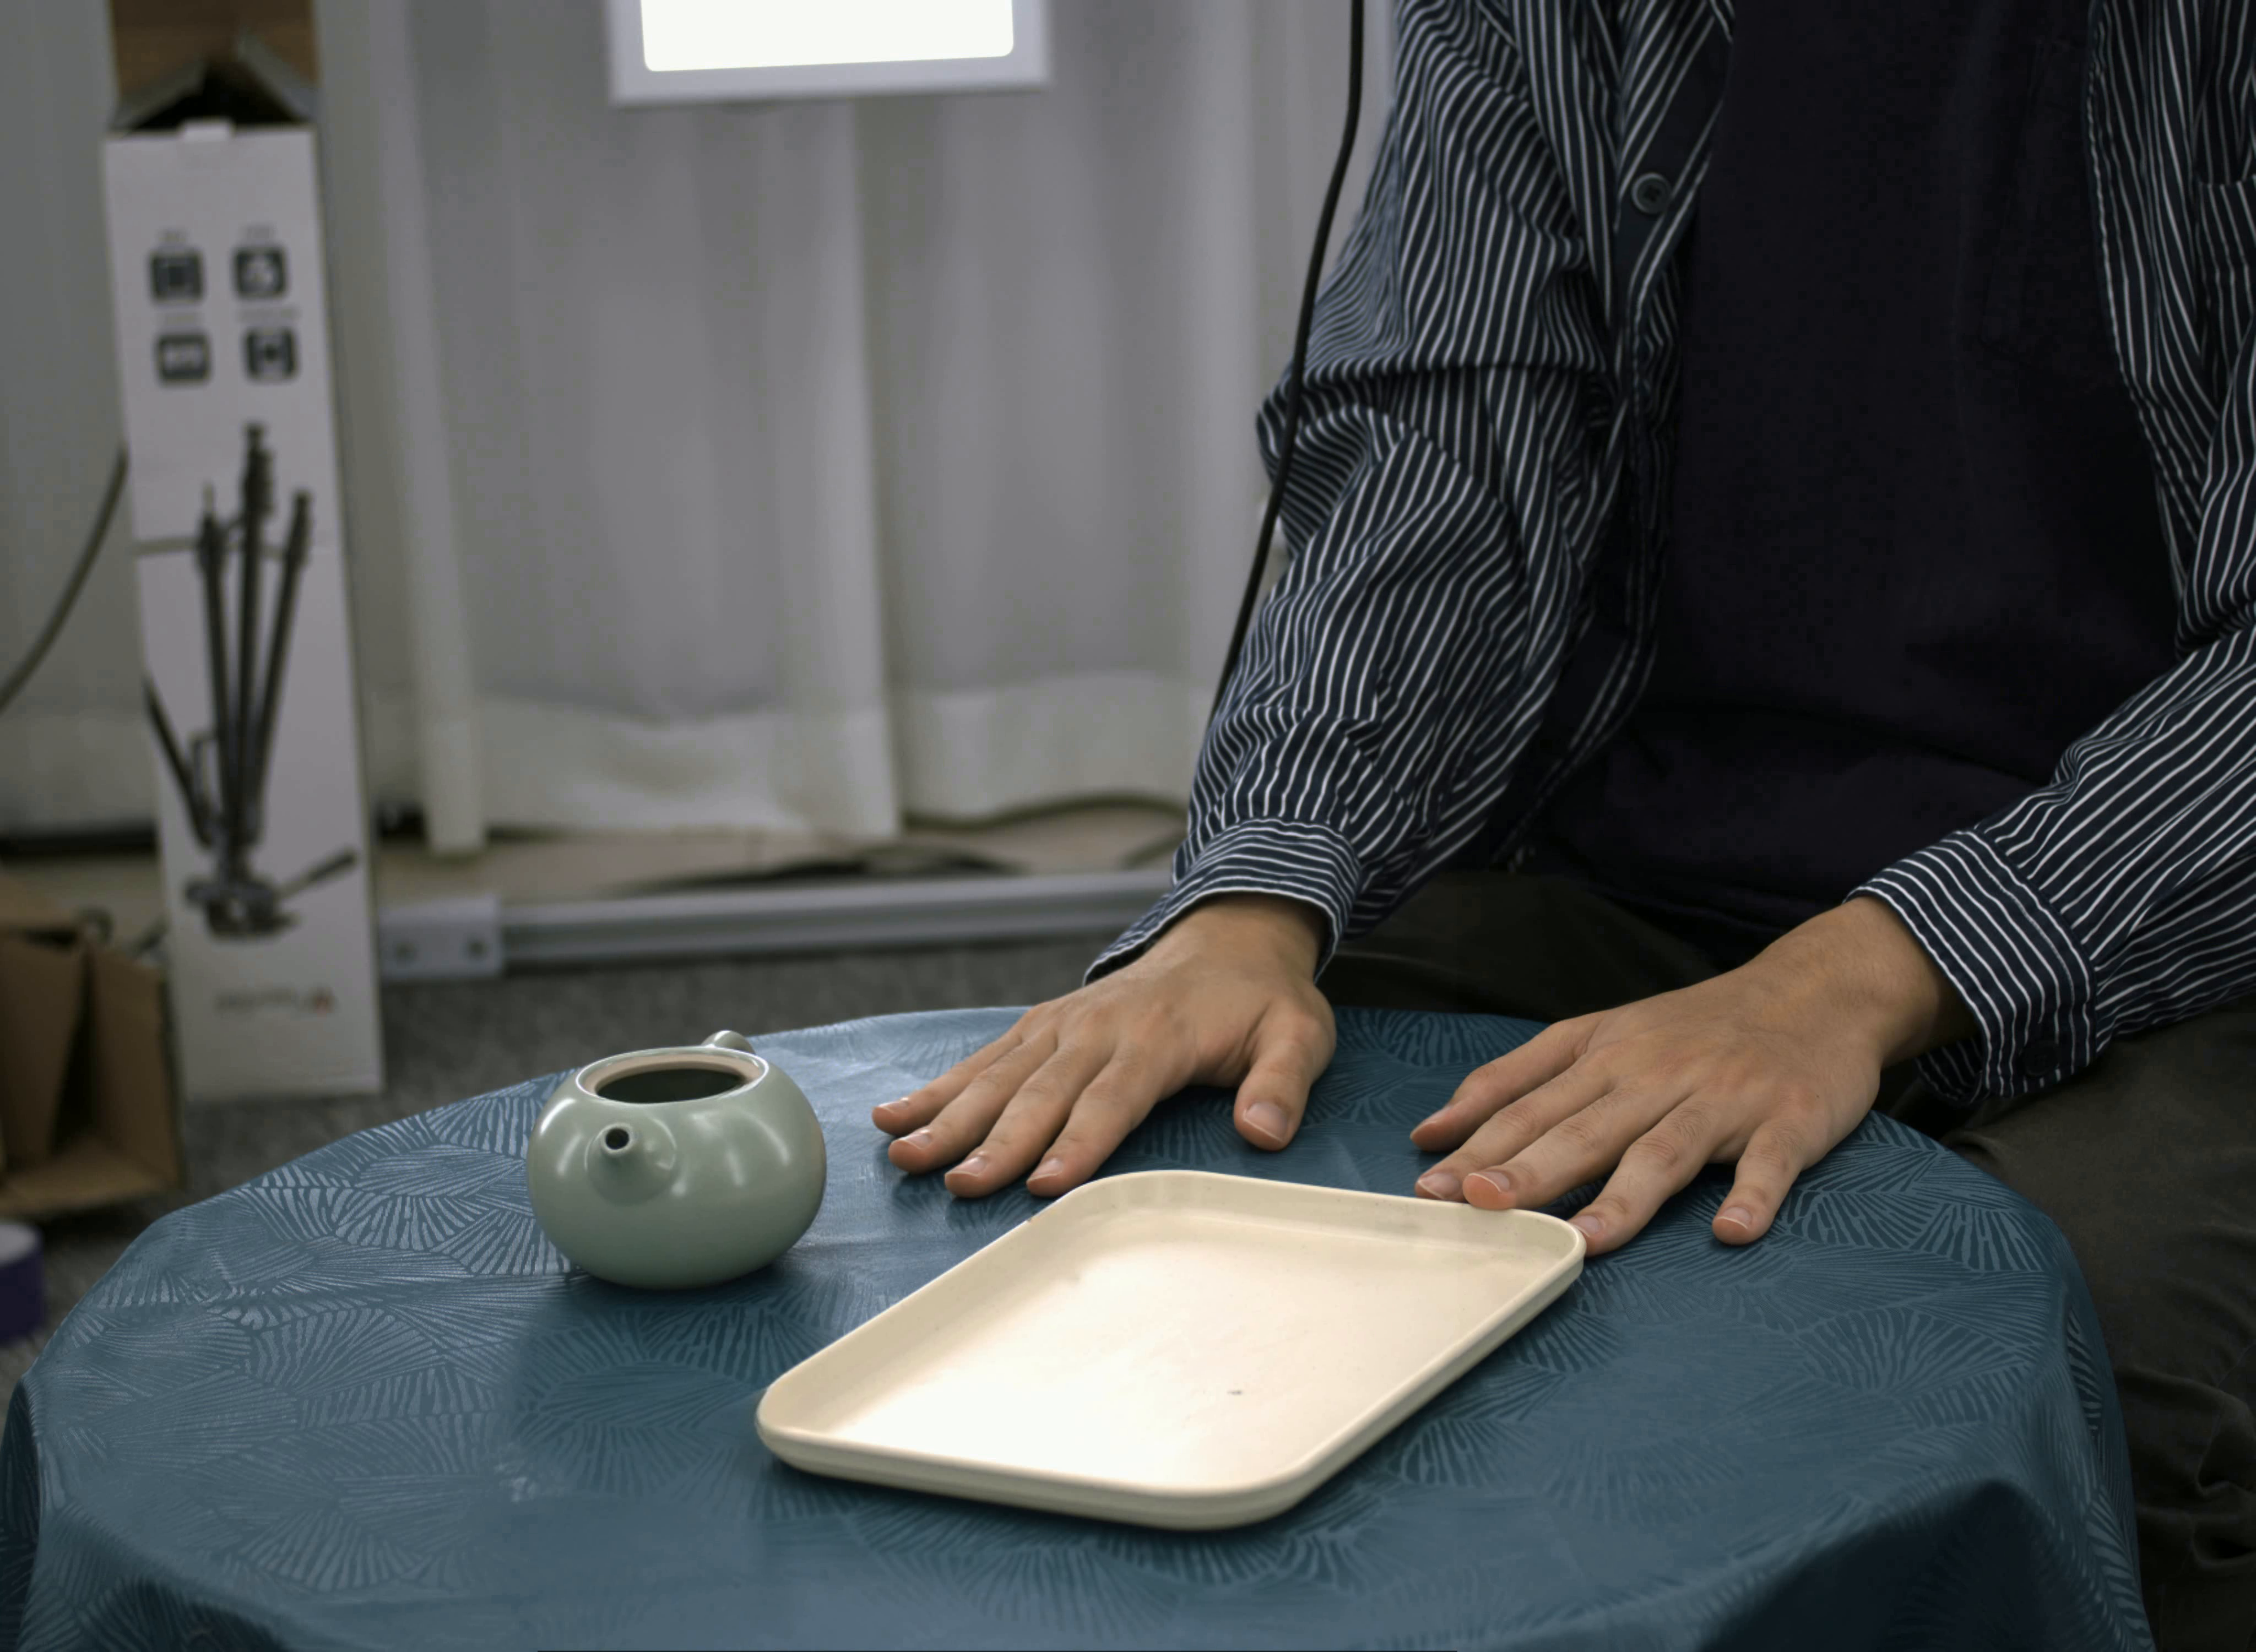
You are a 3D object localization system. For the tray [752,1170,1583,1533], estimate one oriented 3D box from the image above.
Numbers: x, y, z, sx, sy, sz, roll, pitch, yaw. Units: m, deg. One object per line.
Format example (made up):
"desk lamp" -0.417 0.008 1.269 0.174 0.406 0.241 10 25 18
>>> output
"tray" 0.015 0.148 1.555 0.171 0.017 0.240 6 17 28

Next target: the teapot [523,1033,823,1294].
"teapot" -0.135 0.103 1.675 0.091 0.061 0.129 0 14 19
